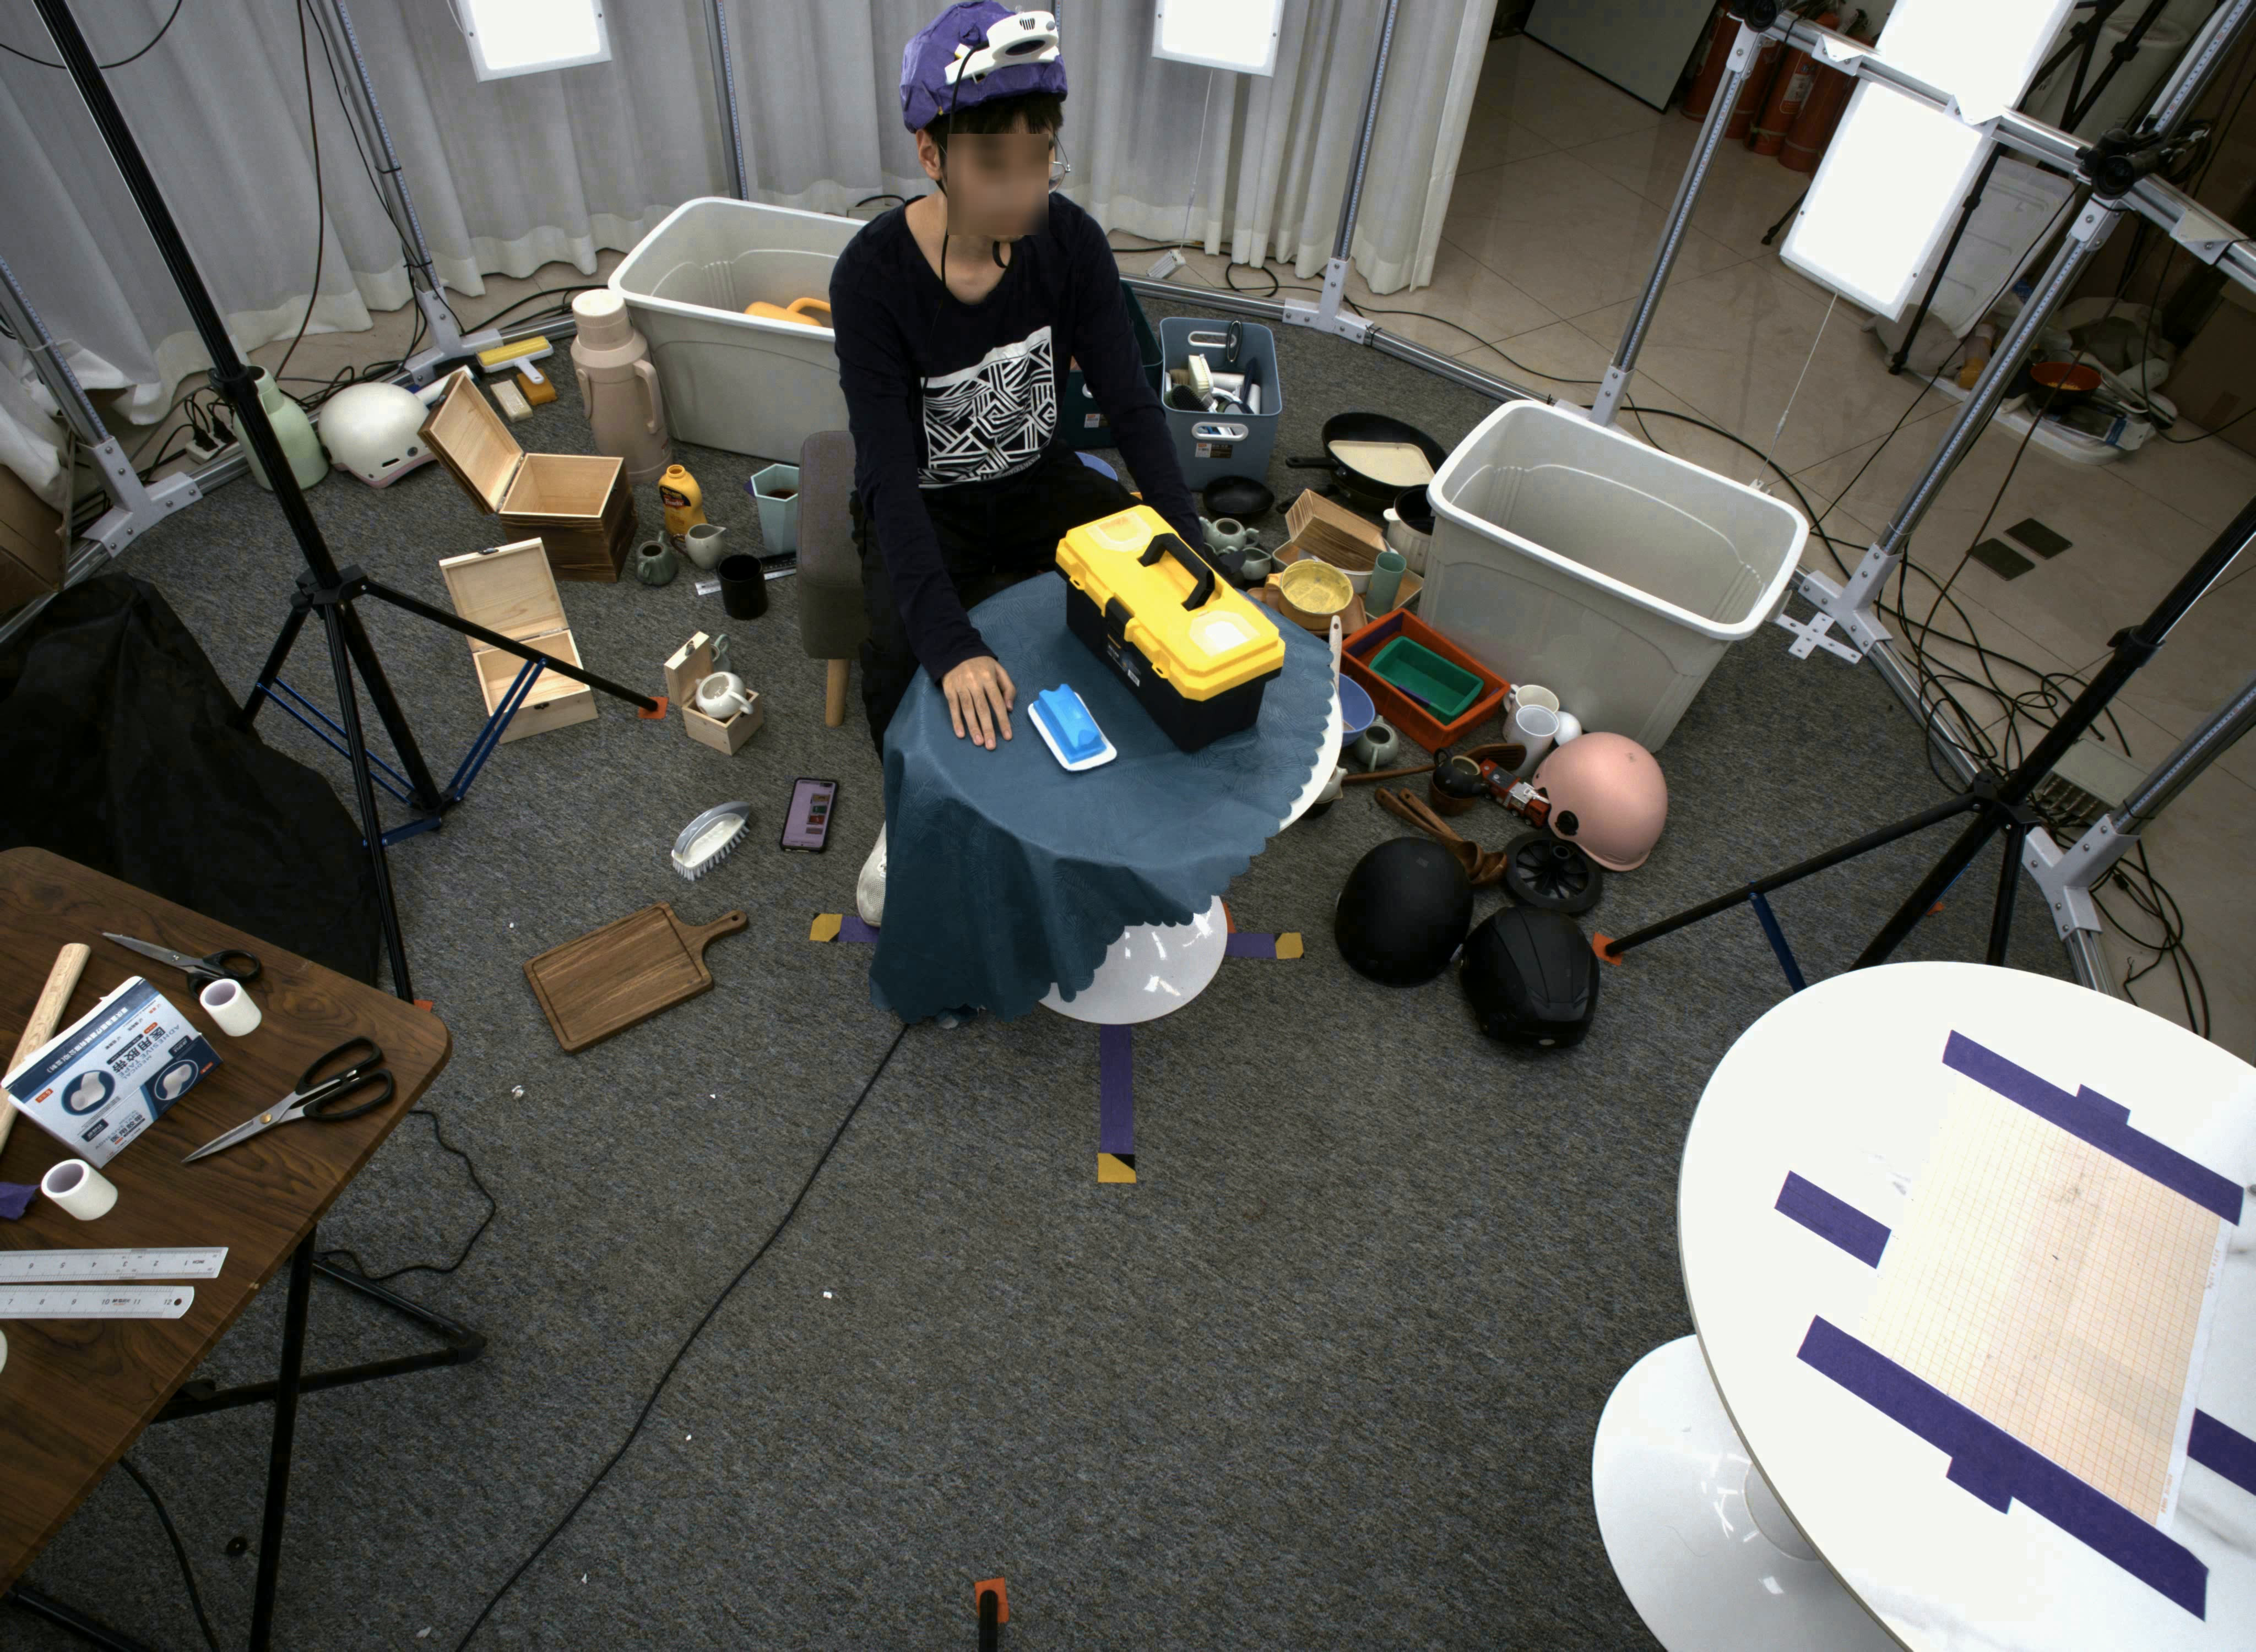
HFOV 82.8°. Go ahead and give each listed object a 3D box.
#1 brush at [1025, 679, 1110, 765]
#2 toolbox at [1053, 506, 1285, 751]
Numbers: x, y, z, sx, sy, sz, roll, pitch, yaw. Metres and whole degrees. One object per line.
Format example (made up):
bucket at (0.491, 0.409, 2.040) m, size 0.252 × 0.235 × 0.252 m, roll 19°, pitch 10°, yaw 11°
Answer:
brush at (-0.081, -0.149, 1.752) m, size 0.084 × 0.054 × 0.147 m, roll -15°, pitch 53°, yaw -20°
toolbox at (0.049, -0.278, 1.800) m, size 0.182 × 0.168 × 0.358 m, roll -24°, pitch 54°, yaw -23°
